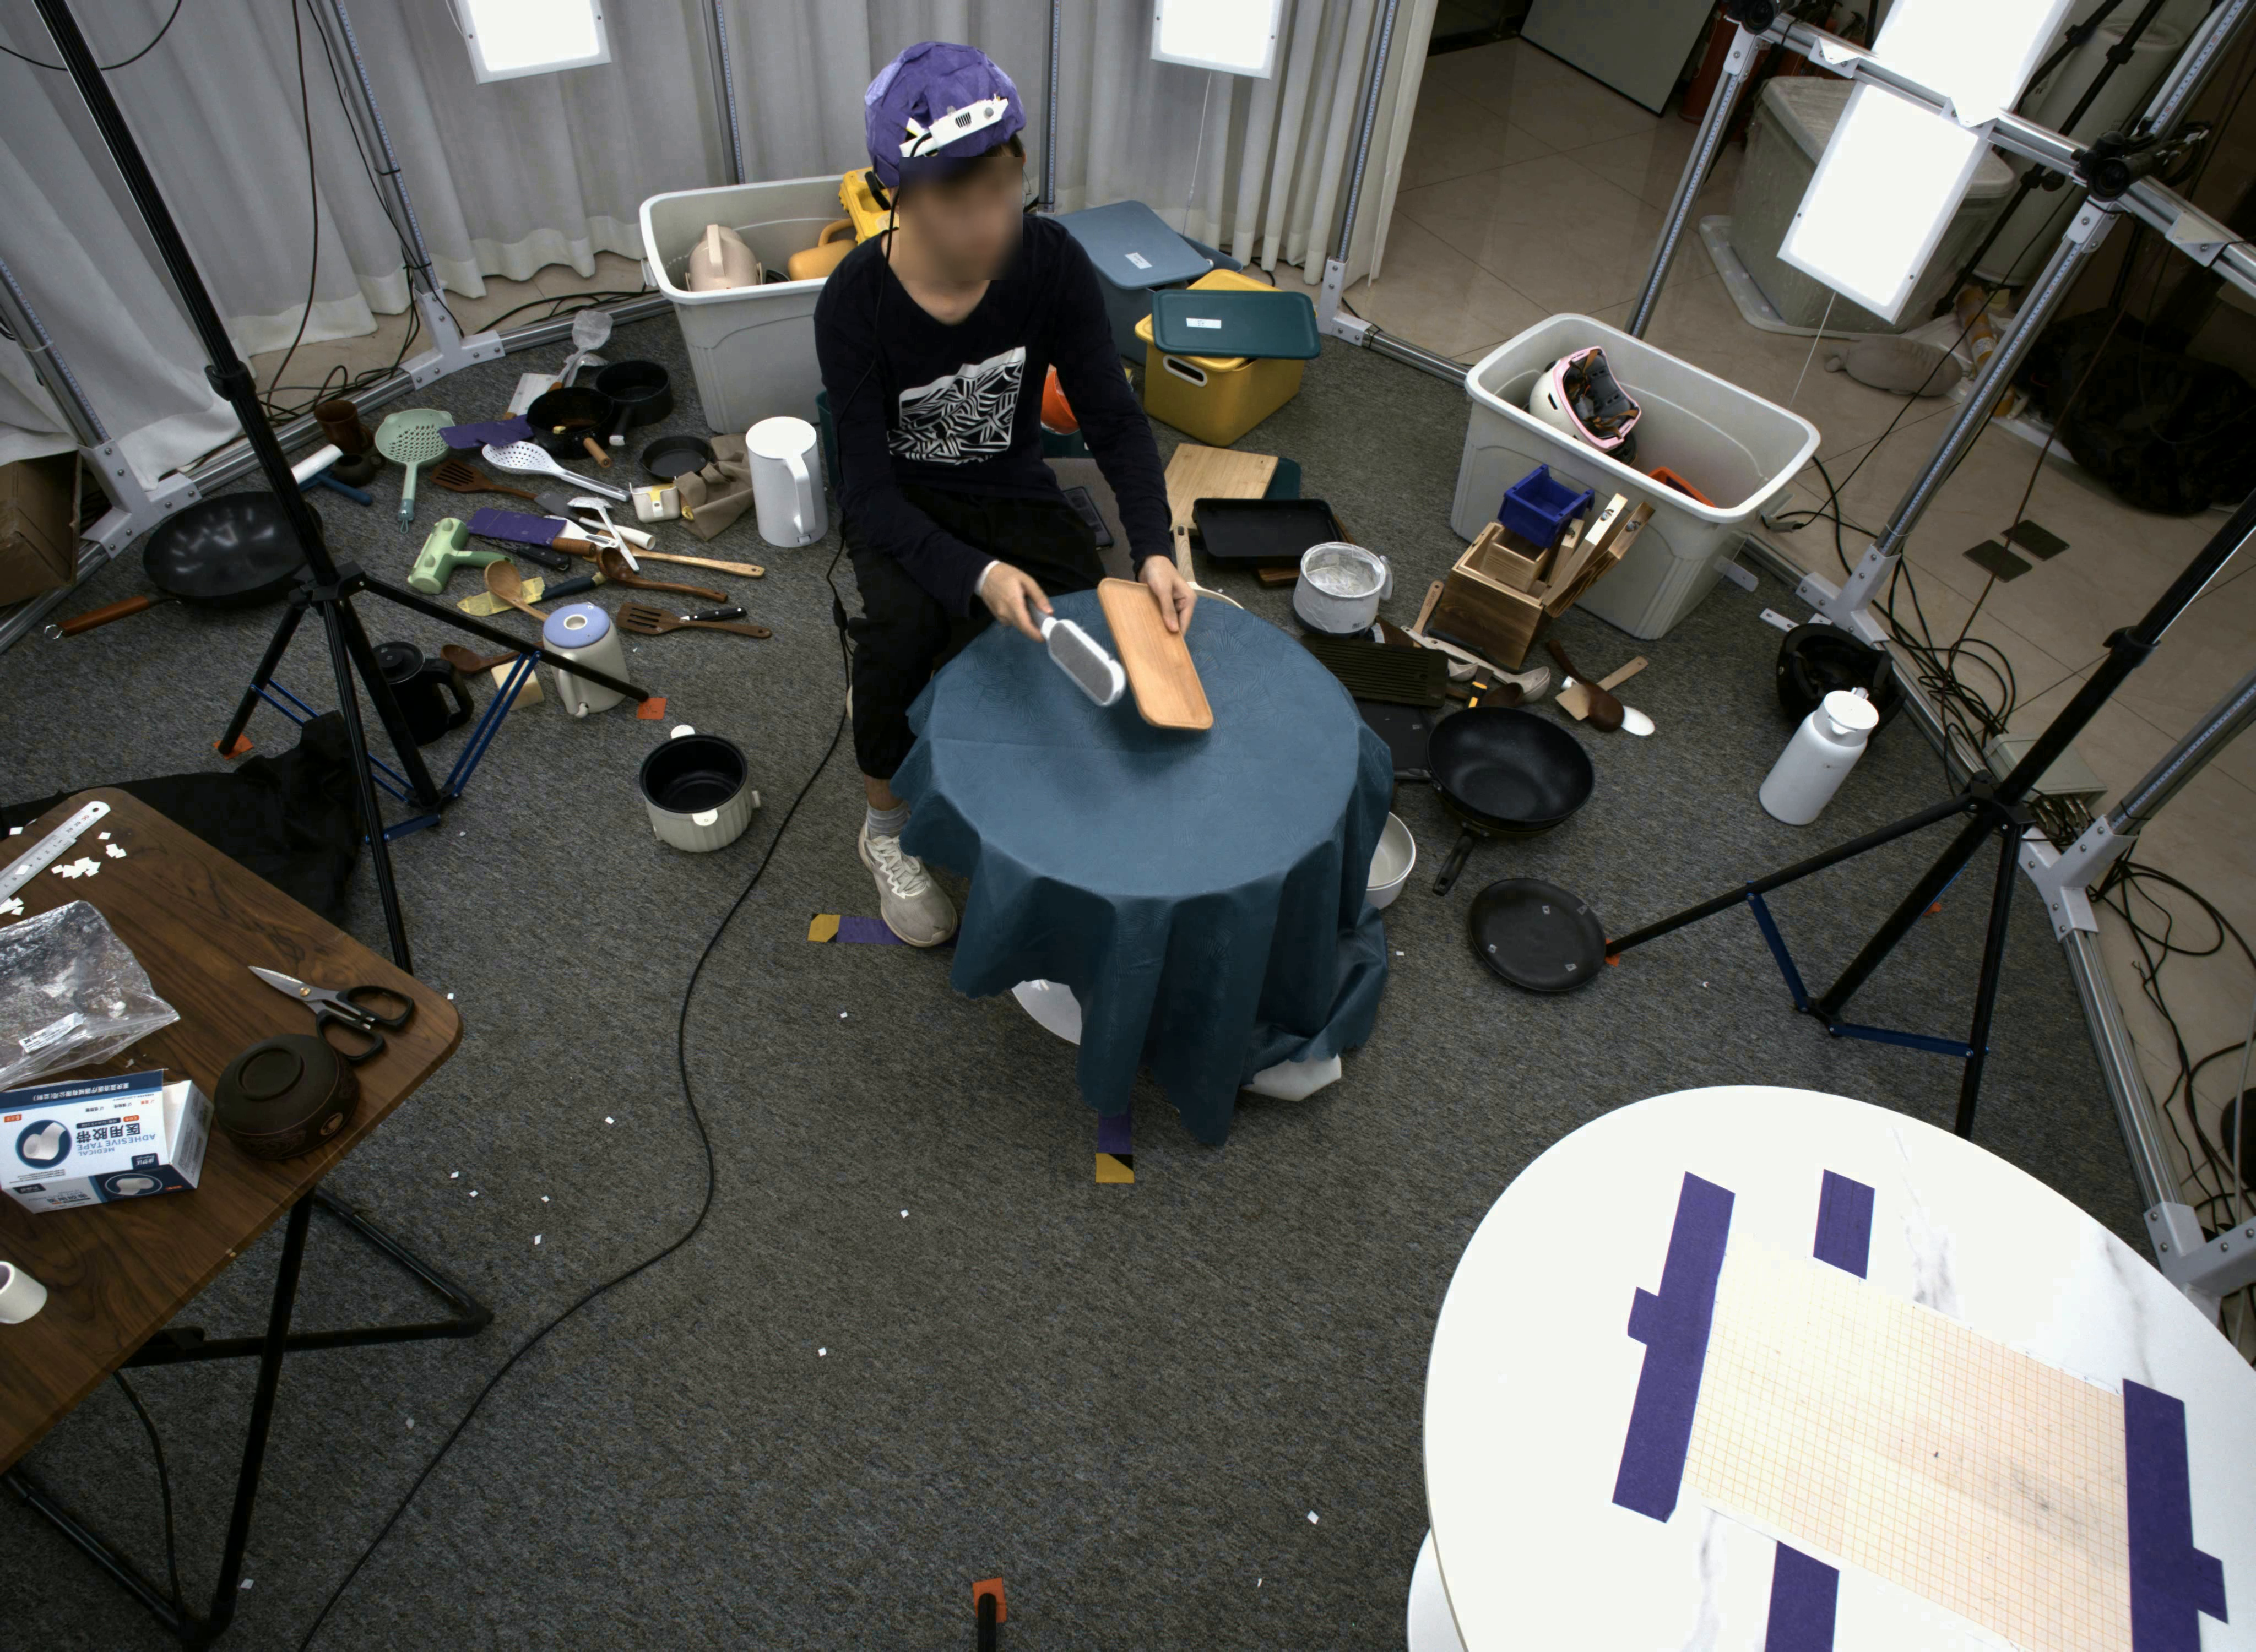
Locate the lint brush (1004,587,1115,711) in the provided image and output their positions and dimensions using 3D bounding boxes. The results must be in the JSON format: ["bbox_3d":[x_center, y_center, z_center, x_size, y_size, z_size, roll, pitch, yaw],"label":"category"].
[{"bbox_3d":[-0.097,-0.250,1.748,0.021,0.059,0.315,-4,36,-32],"label":"lint brush"}]

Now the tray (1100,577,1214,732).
[{"bbox_3d":[0.039,-0.240,1.796,0.129,0.022,0.256,5,56,-36],"label":"tray"}]
